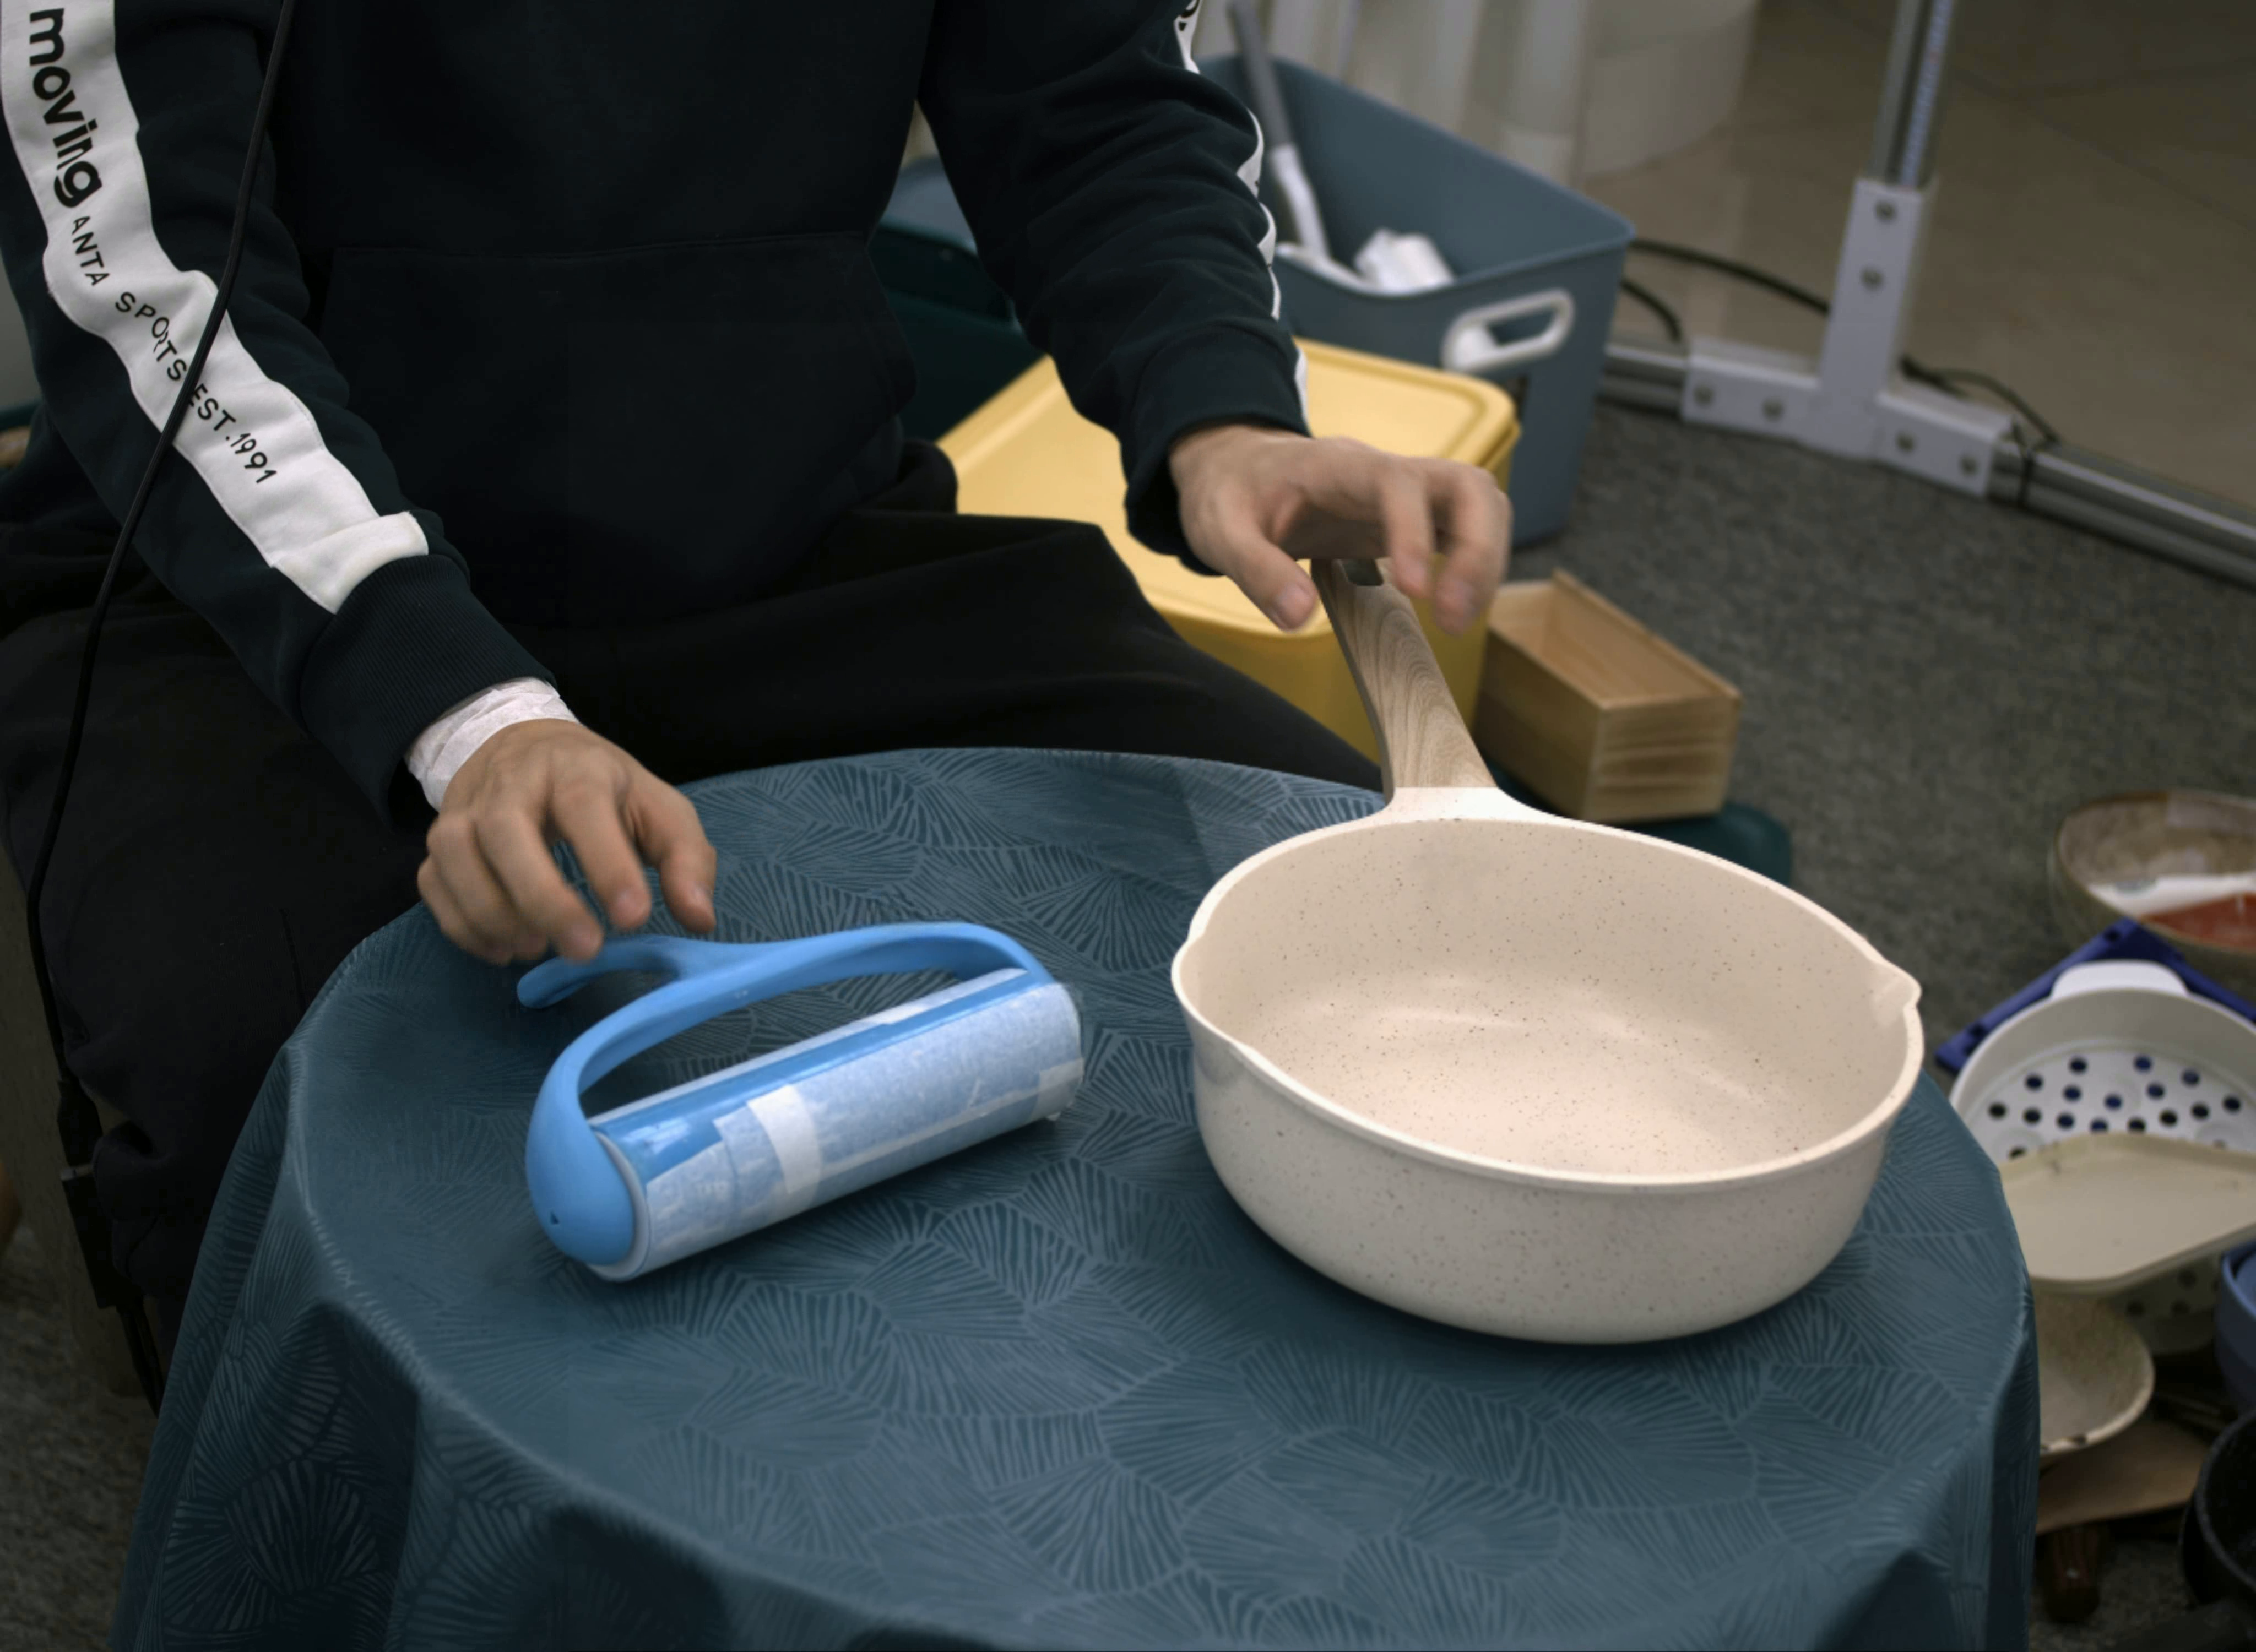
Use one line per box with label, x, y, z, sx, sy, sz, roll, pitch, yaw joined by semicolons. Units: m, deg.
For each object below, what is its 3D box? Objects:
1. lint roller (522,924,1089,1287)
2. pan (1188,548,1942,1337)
lint roller;-0.143;0.074;1.801;0.181;0.068;0.228;28;35;35
pan;0.125;0.038;1.883;0.262;0.101;0.438;-2;28;-13
